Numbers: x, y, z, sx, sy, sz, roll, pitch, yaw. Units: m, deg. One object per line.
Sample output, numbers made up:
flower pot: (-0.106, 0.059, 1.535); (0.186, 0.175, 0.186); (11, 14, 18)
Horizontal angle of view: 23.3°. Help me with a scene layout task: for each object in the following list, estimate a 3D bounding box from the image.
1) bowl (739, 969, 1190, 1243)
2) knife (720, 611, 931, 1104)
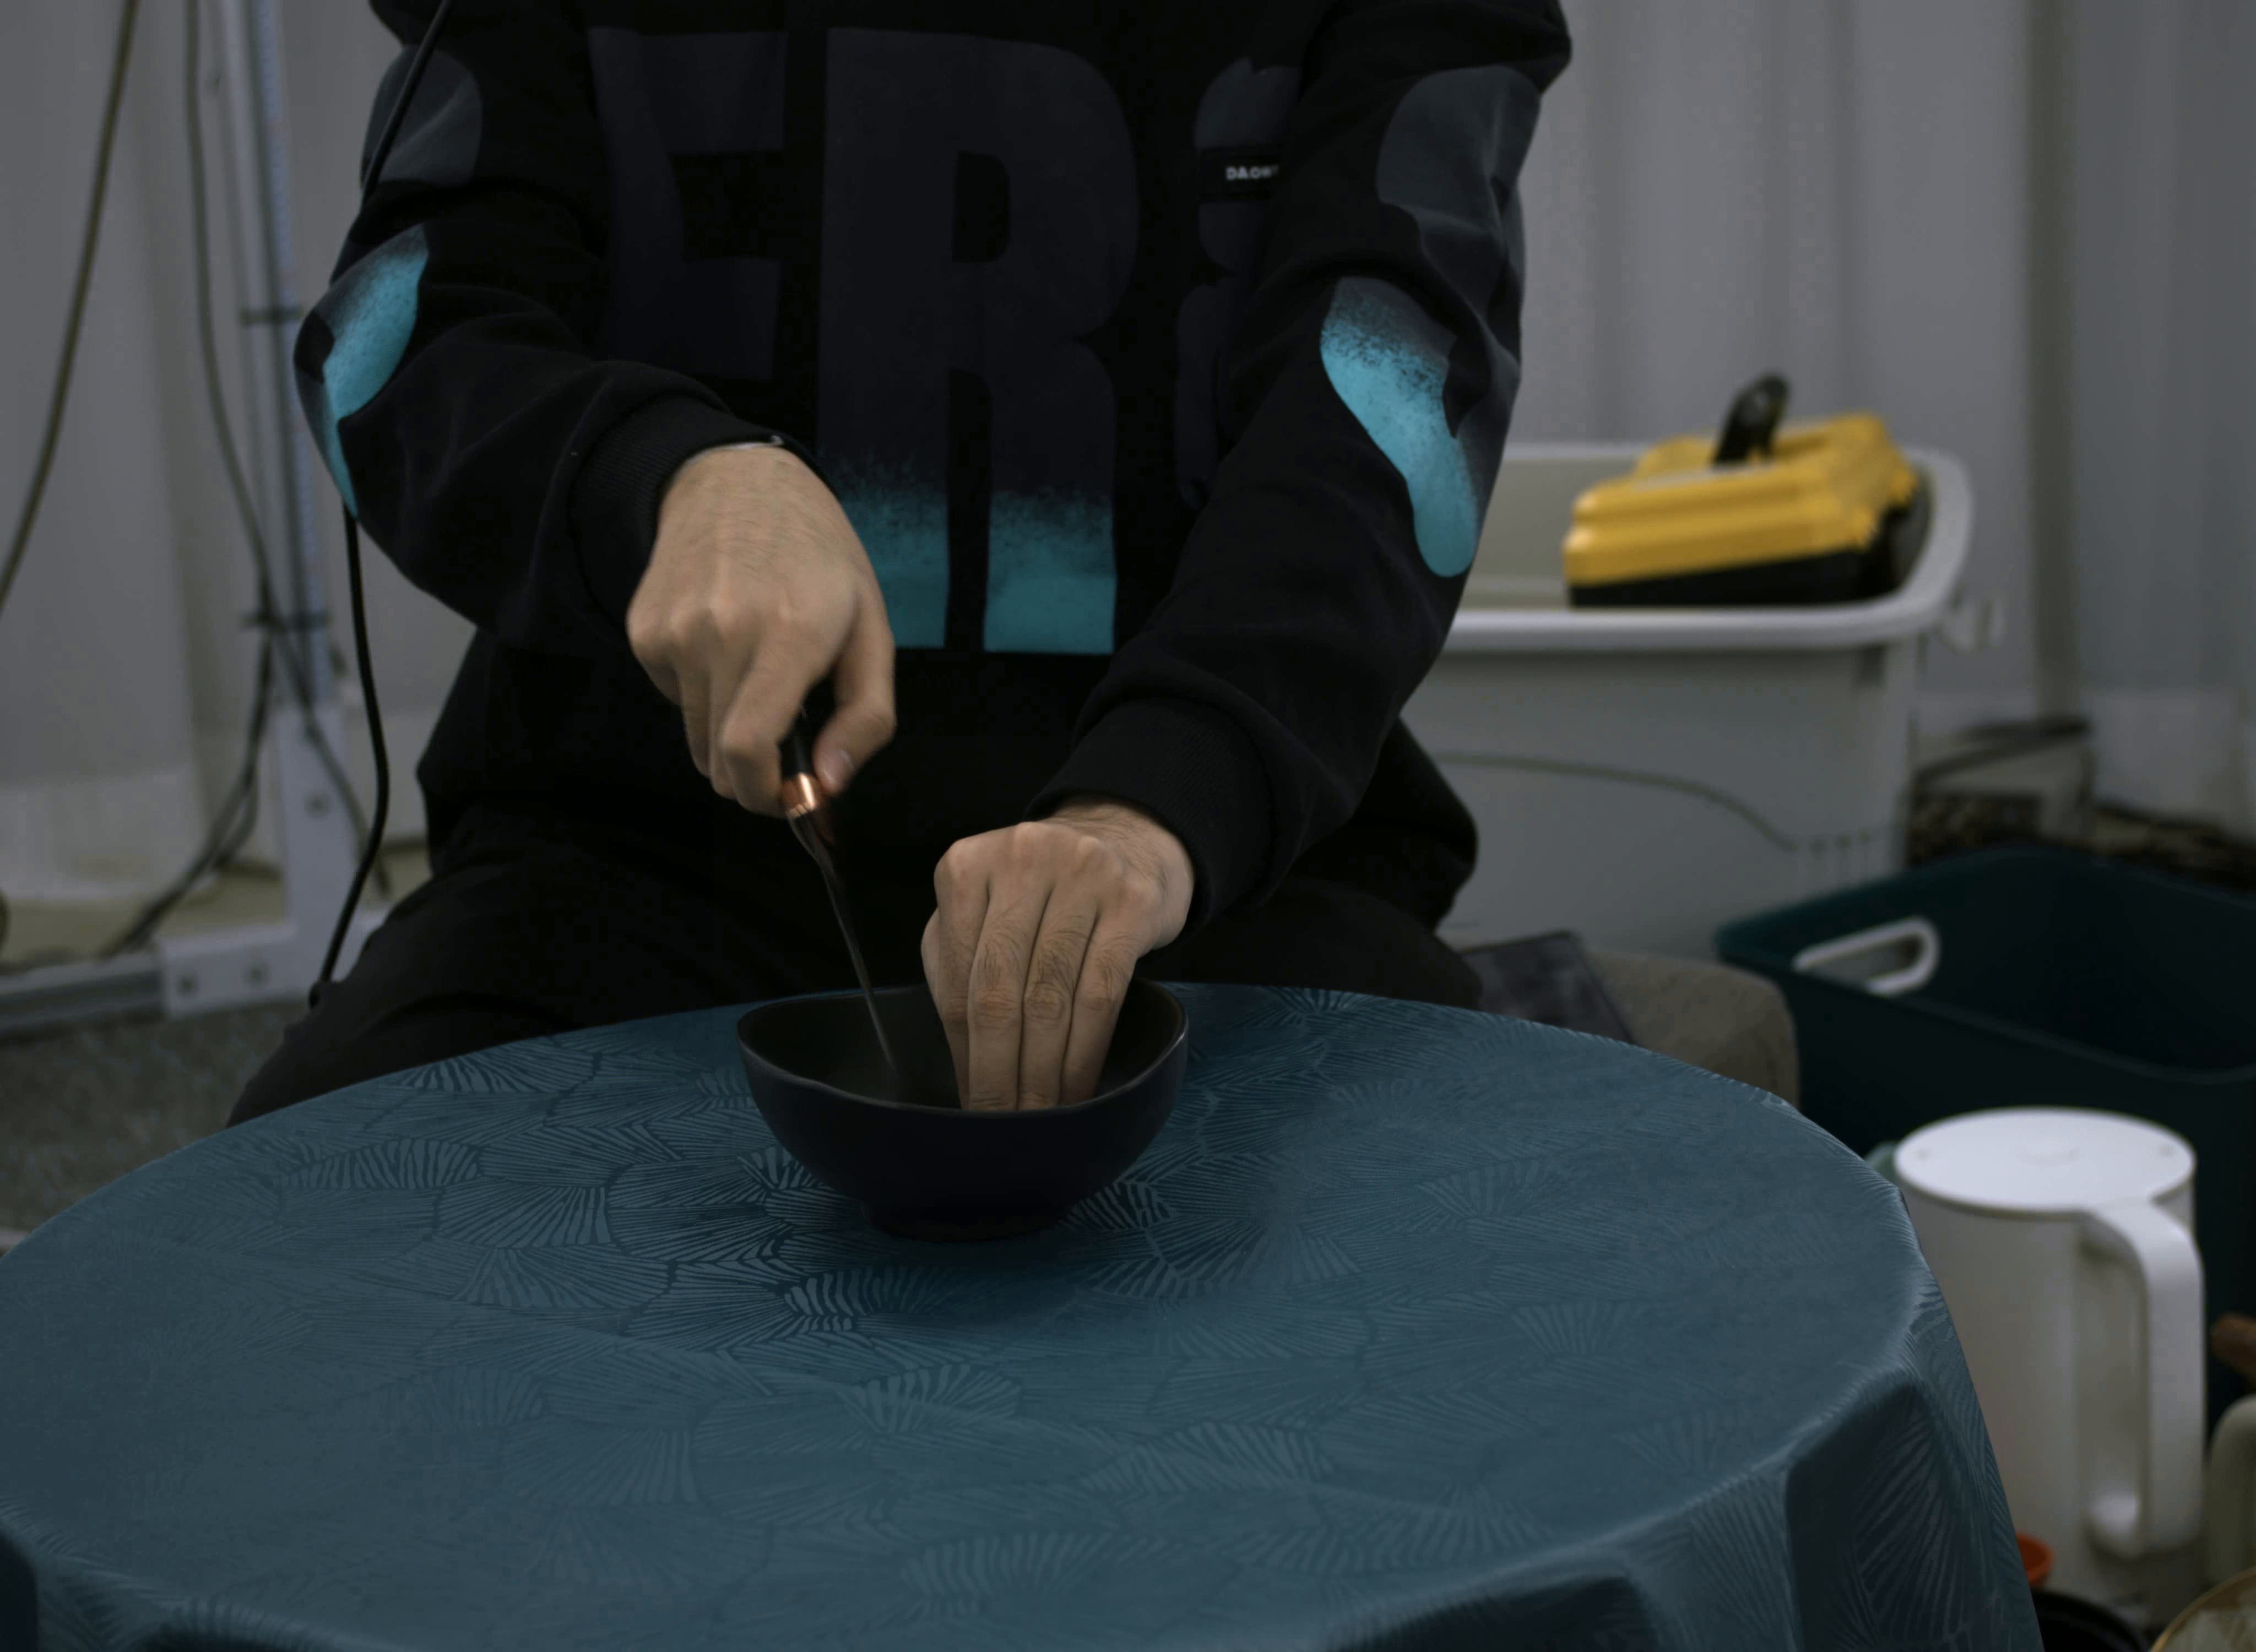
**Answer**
bowl: (-0.051, 0.089, 1.695); (0.137, 0.066, 0.171); (-8, 14, -20)
knife: (-0.097, 0.008, 1.745); (0.017, 0.026, 0.229); (-27, 46, 4)
